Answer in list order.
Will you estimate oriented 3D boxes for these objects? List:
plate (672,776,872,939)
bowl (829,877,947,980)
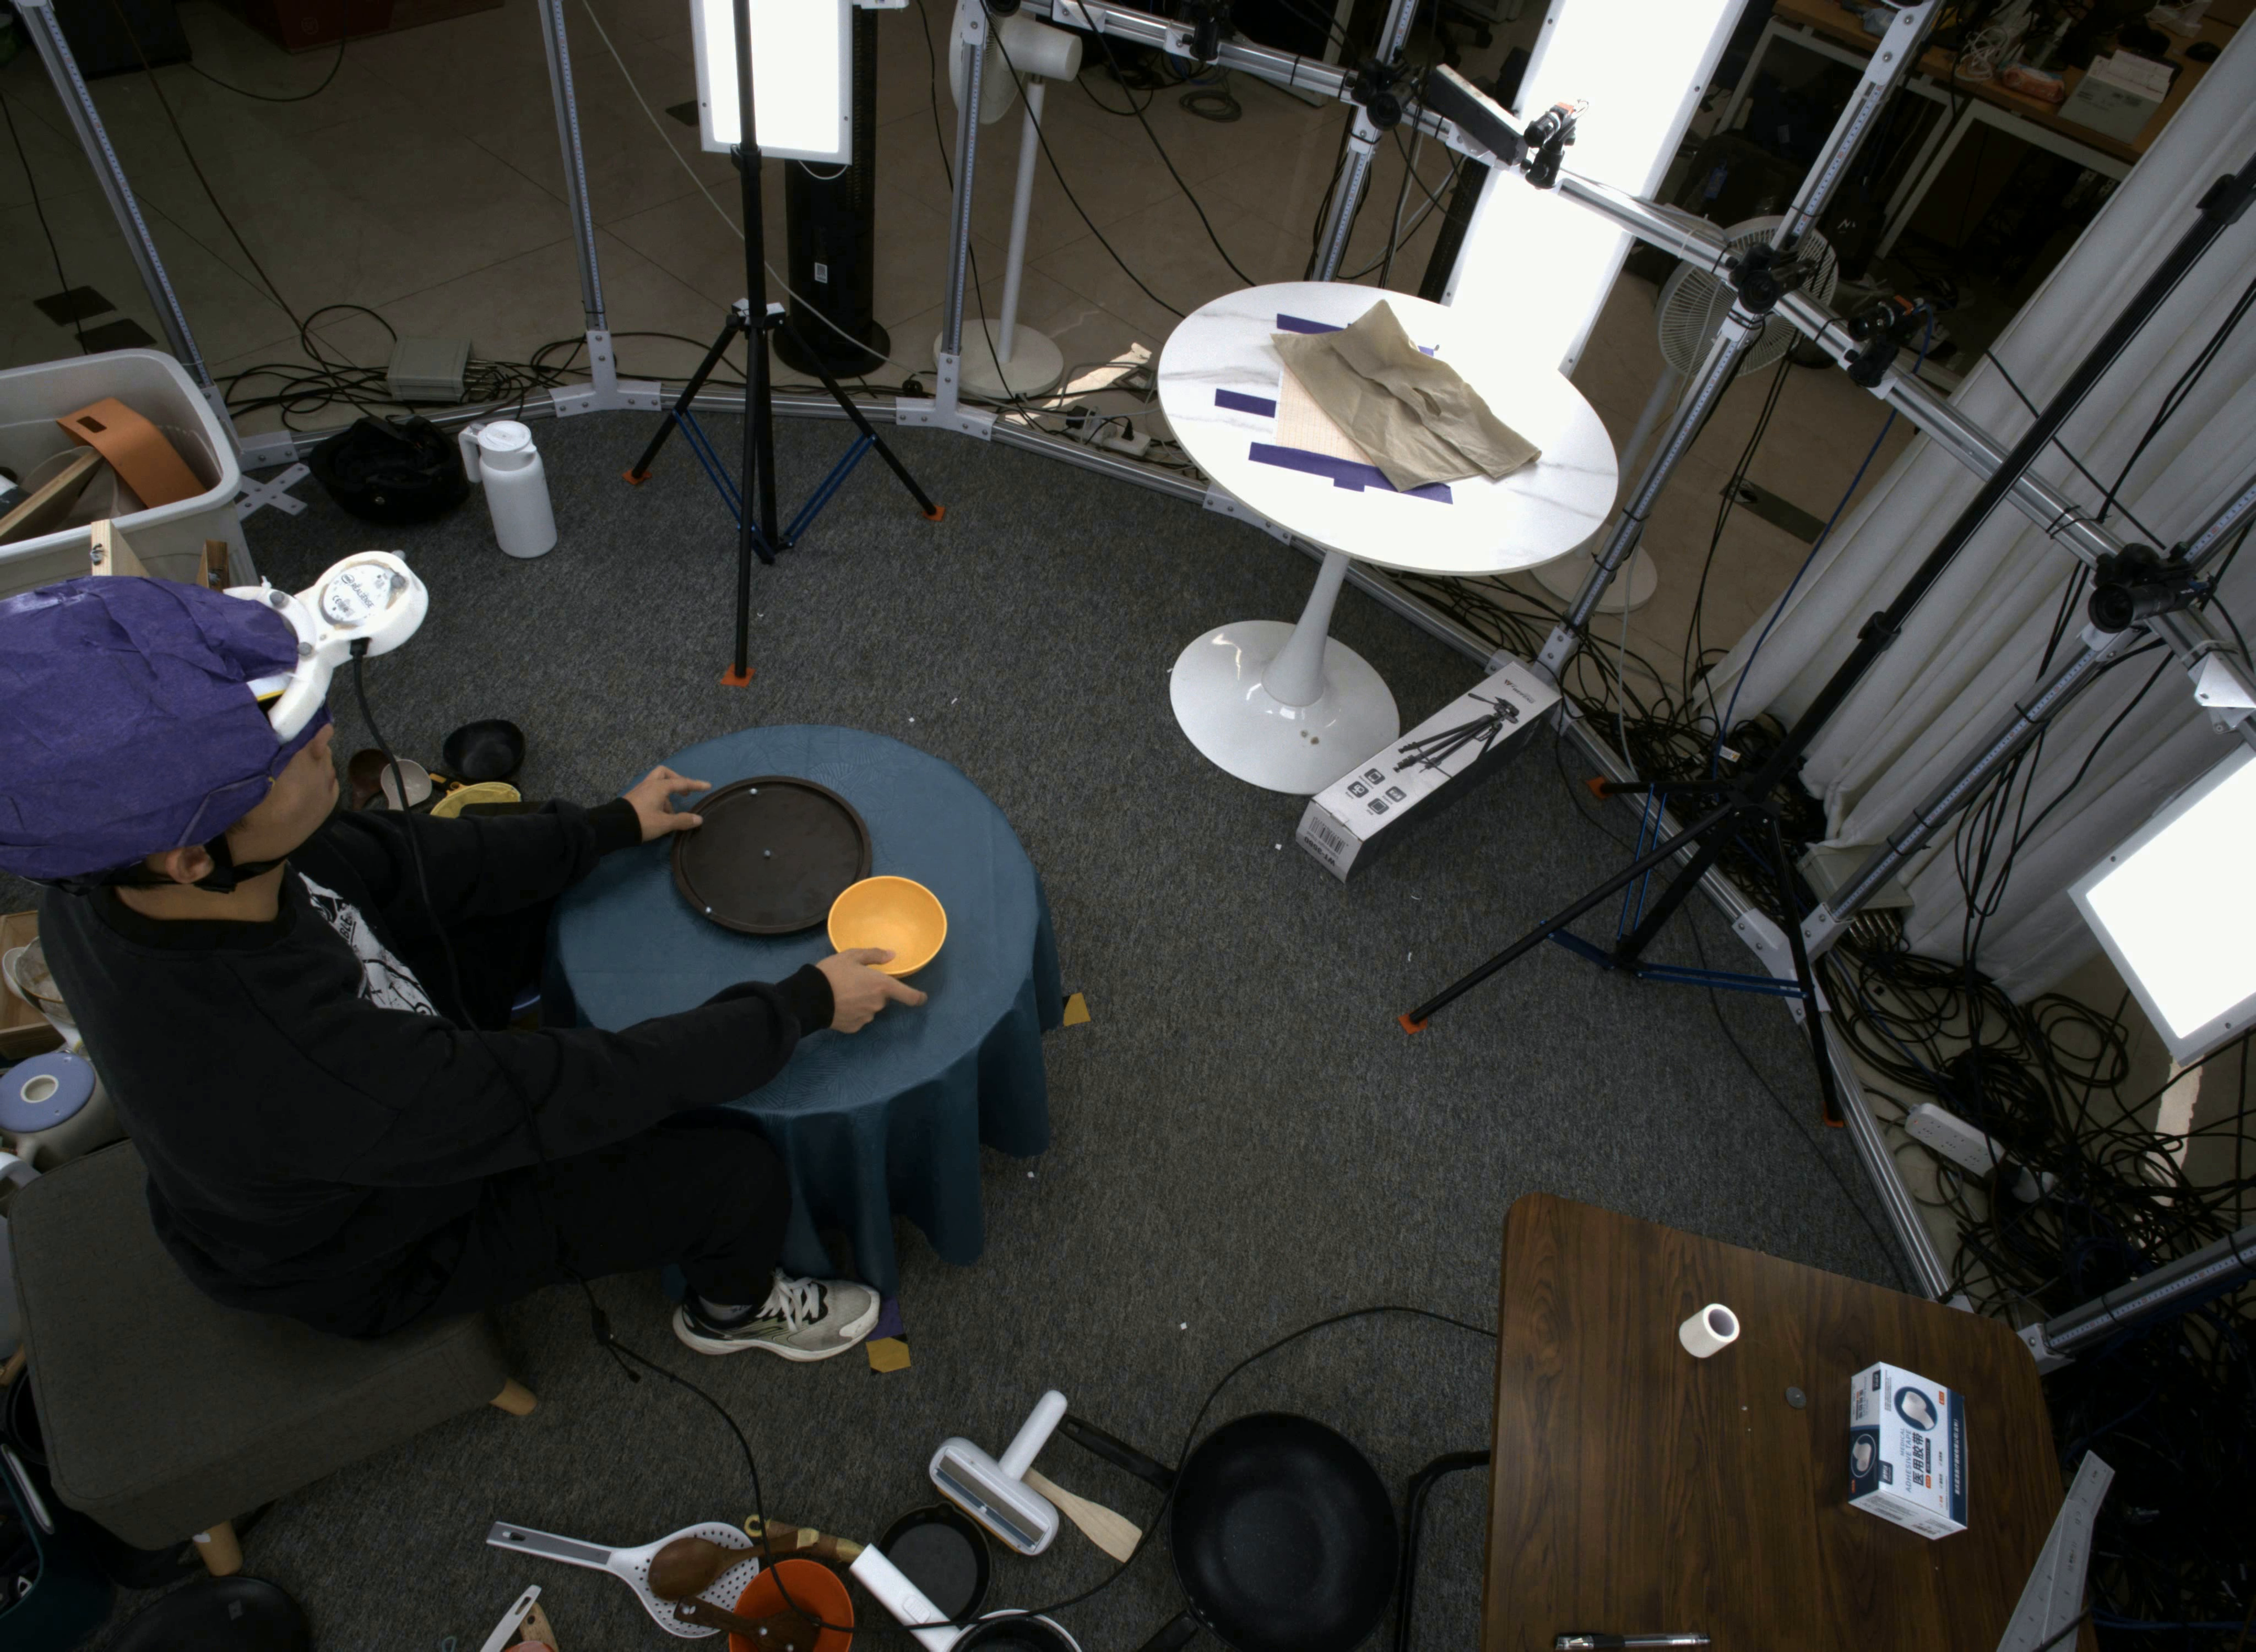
[{"bbox_3d":[-0.459,0.037,1.678,0.254,0.029,0.250,8,54,-9],"label":"plate"},{"bbox_3d":[-0.298,0.137,1.624,0.144,0.061,0.143,6,52,-6],"label":"bowl"}]
